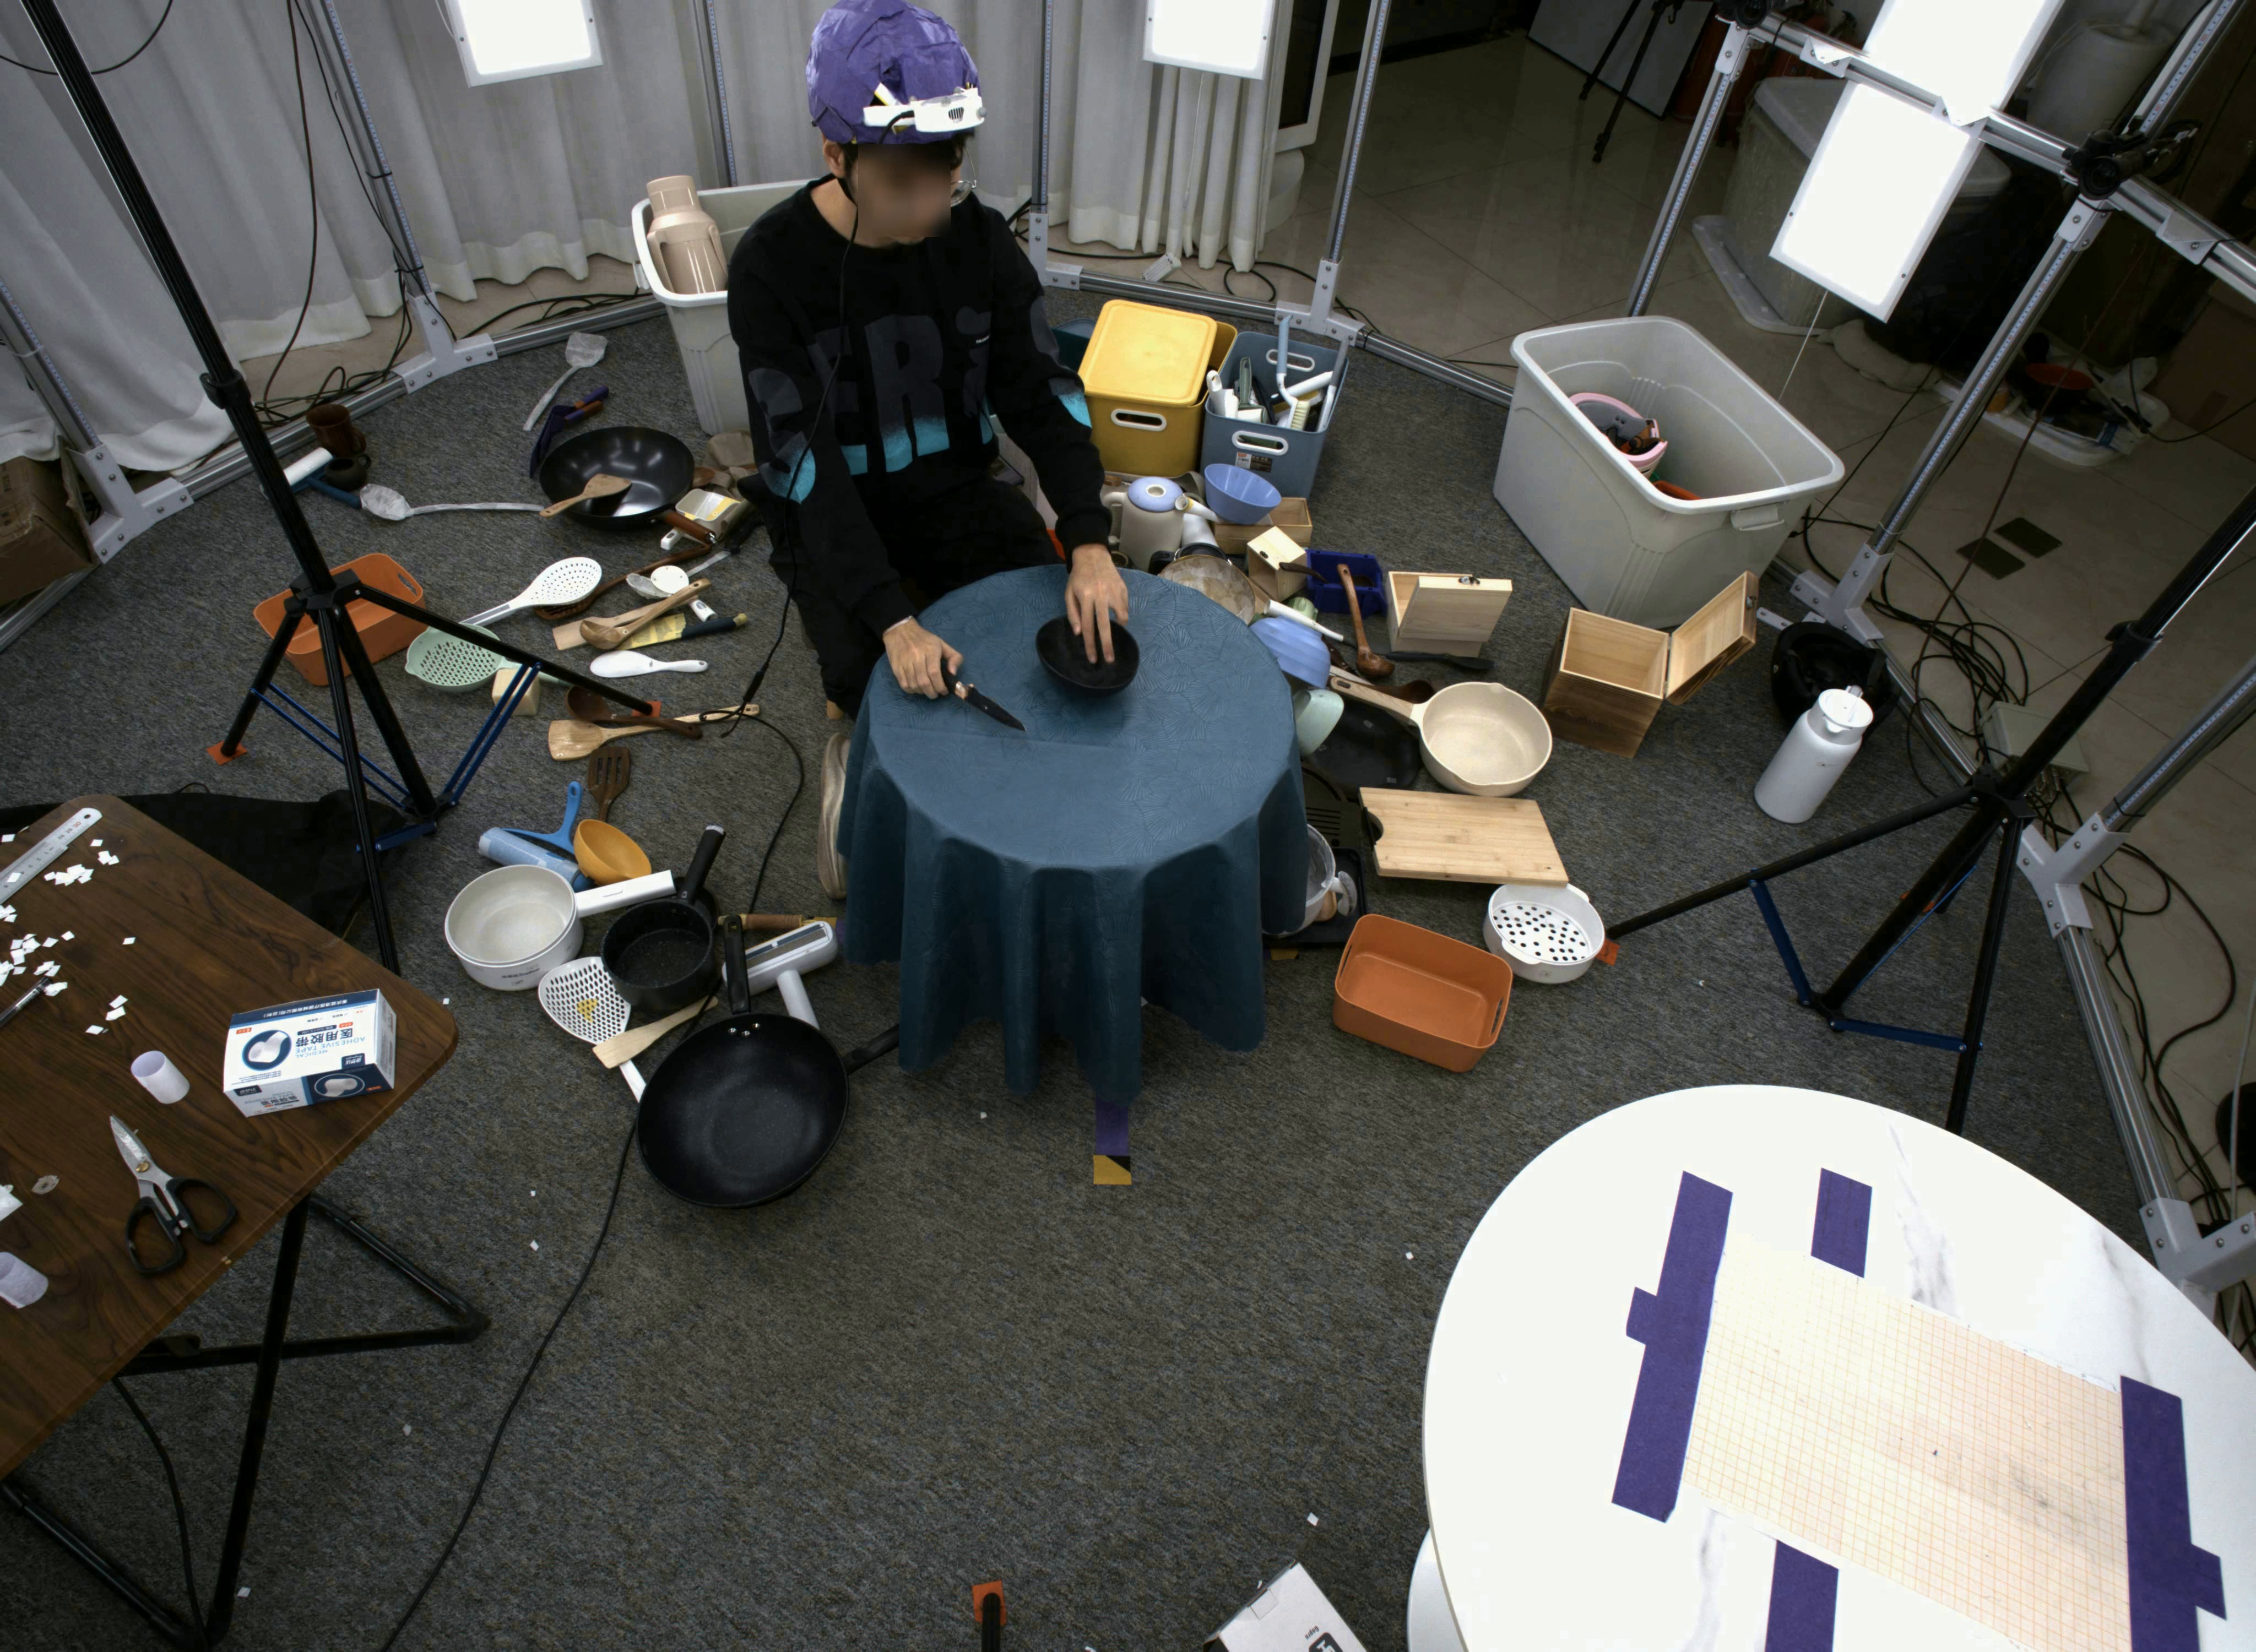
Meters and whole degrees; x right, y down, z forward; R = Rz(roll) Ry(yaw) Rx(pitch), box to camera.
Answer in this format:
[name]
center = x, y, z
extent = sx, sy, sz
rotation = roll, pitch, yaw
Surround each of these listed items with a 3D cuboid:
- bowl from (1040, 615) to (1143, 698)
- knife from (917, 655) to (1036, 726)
[bowl]
center = -0.054, -0.231, 1.825
extent = 0.138, 0.065, 0.173
rotation = -26, 54, -25
[knife]
center = -0.212, -0.185, 1.783
extent = 0.229, 0.017, 0.026
rotation = 32, 93, 29
